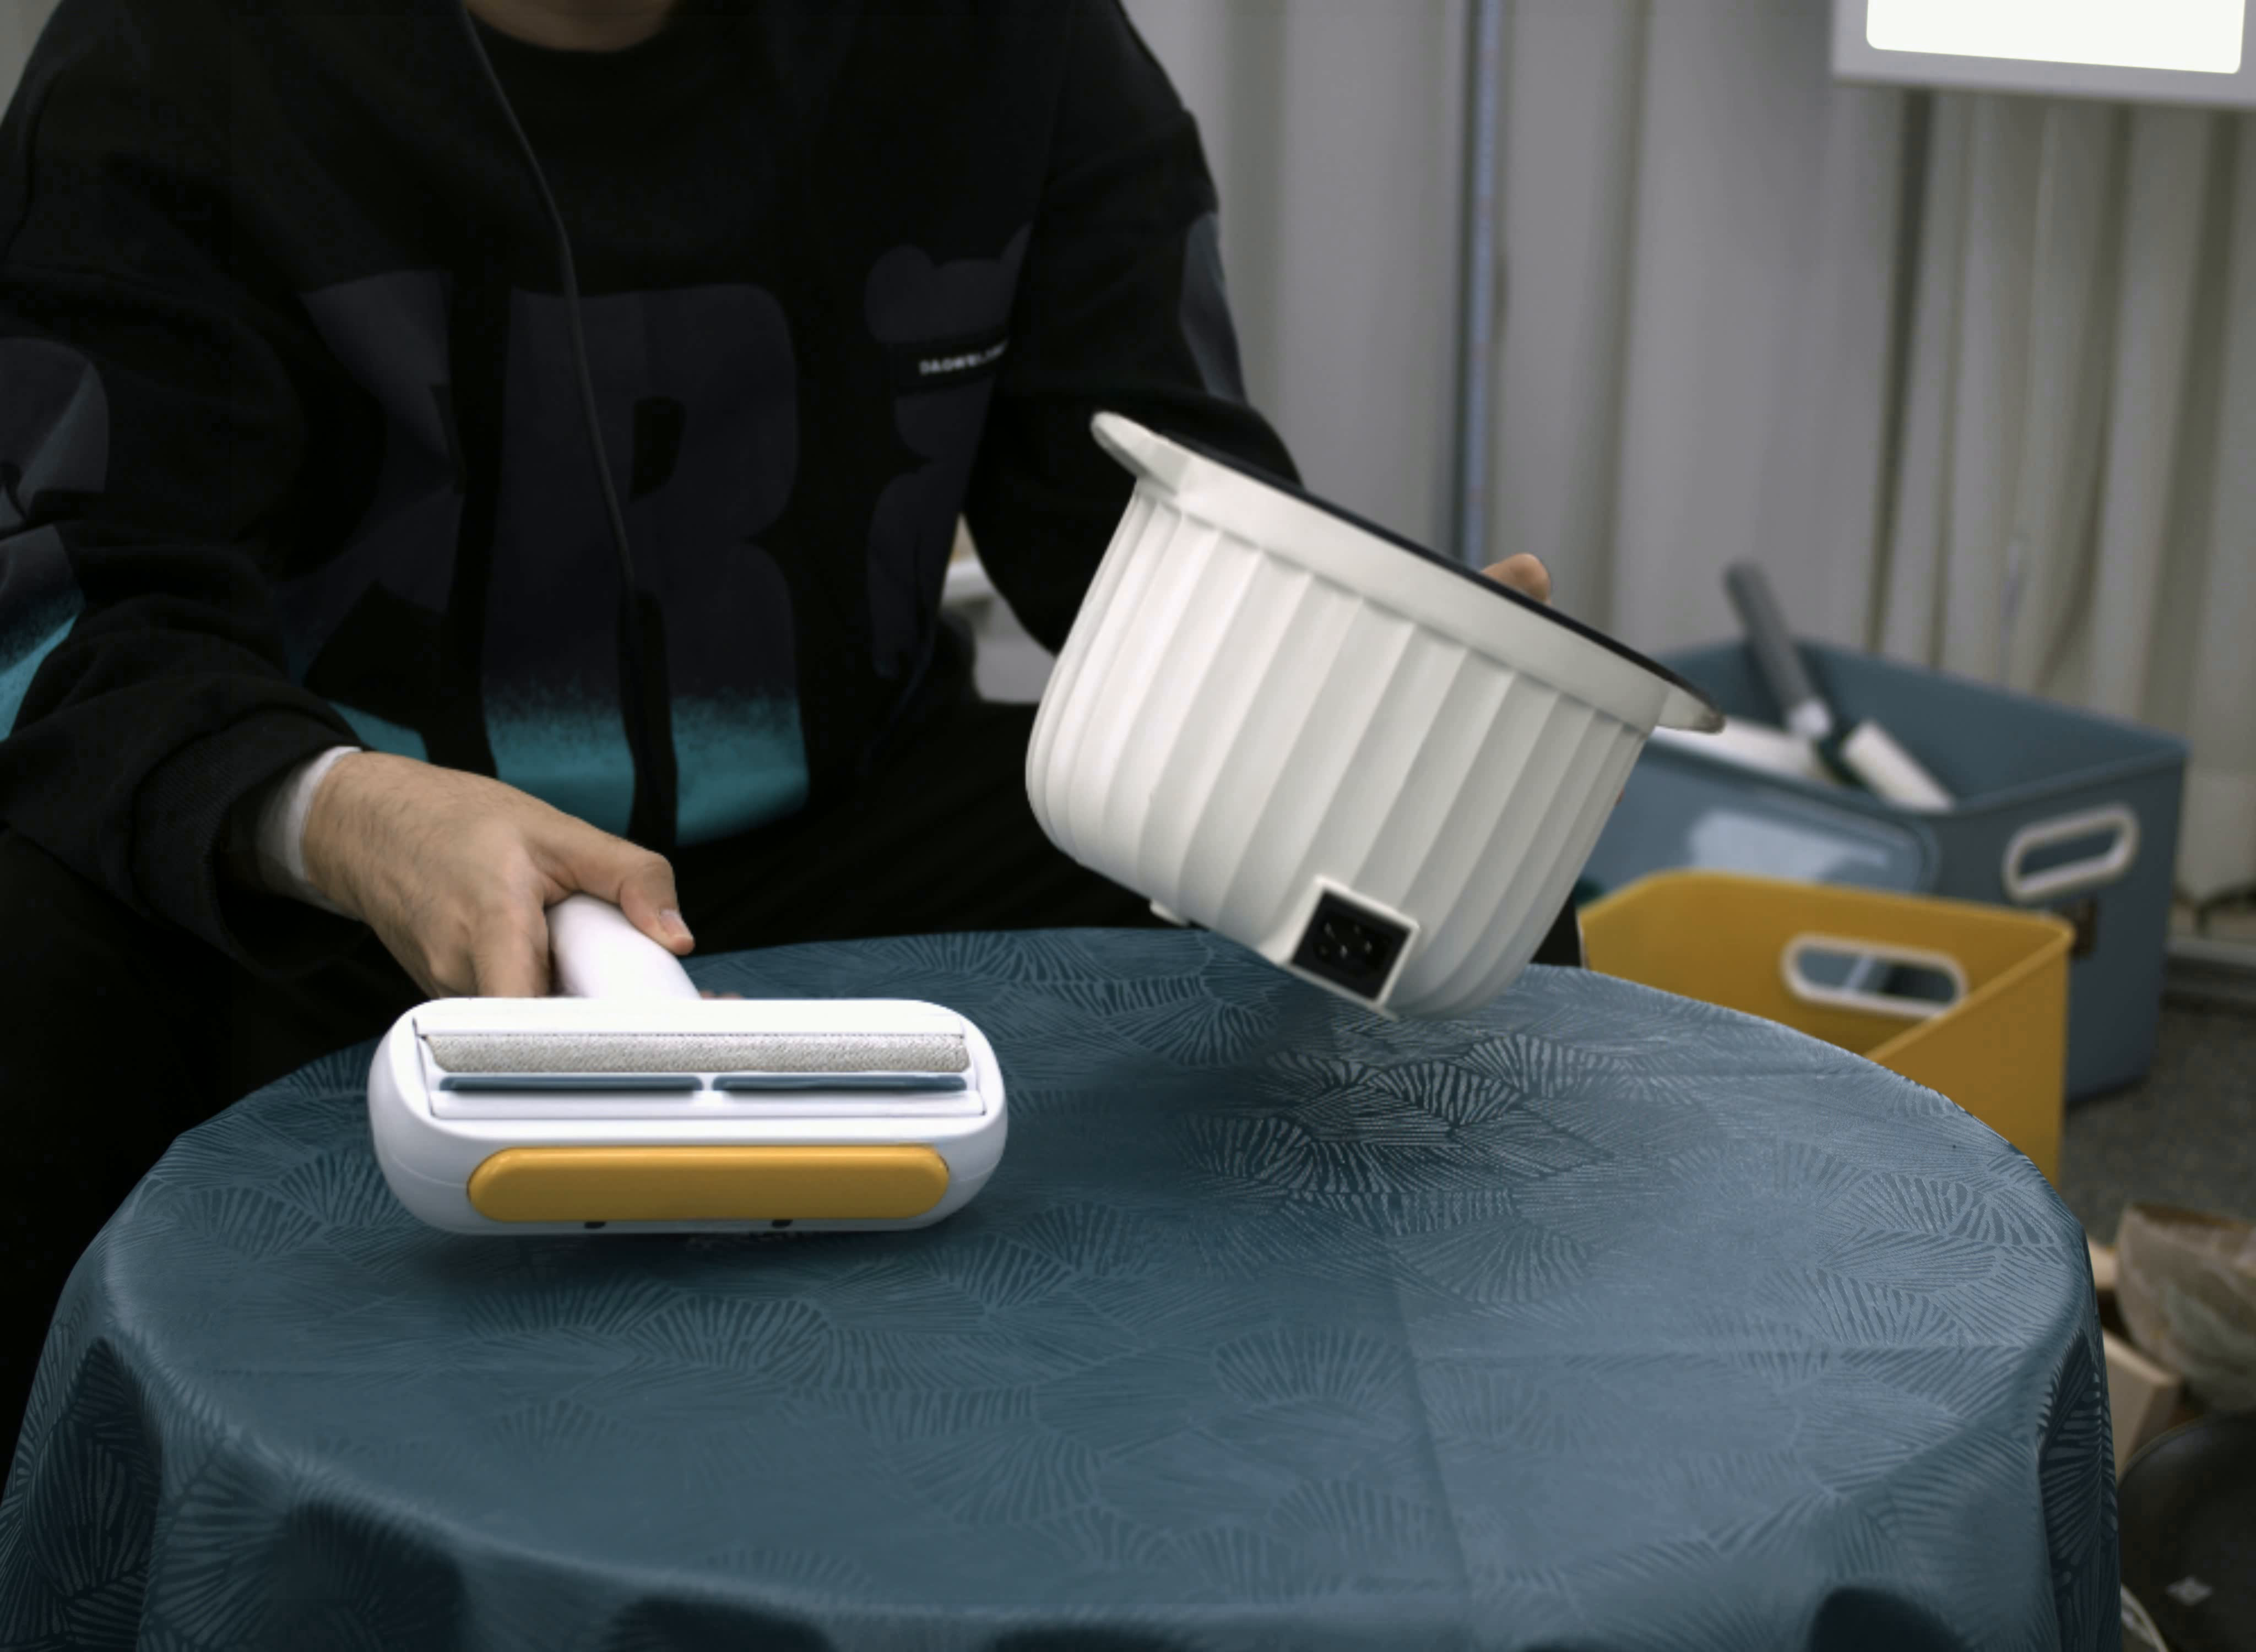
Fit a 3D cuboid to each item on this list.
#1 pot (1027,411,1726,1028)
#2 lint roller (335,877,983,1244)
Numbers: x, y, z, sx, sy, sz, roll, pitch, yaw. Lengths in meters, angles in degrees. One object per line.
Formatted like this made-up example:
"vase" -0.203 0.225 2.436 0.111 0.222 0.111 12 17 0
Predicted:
"pot" 0.060 -0.026 1.660 0.242 0.143 0.188 26 5 -23
"lint roller" -0.151 0.059 1.612 0.193 0.075 0.190 -1 34 -14
